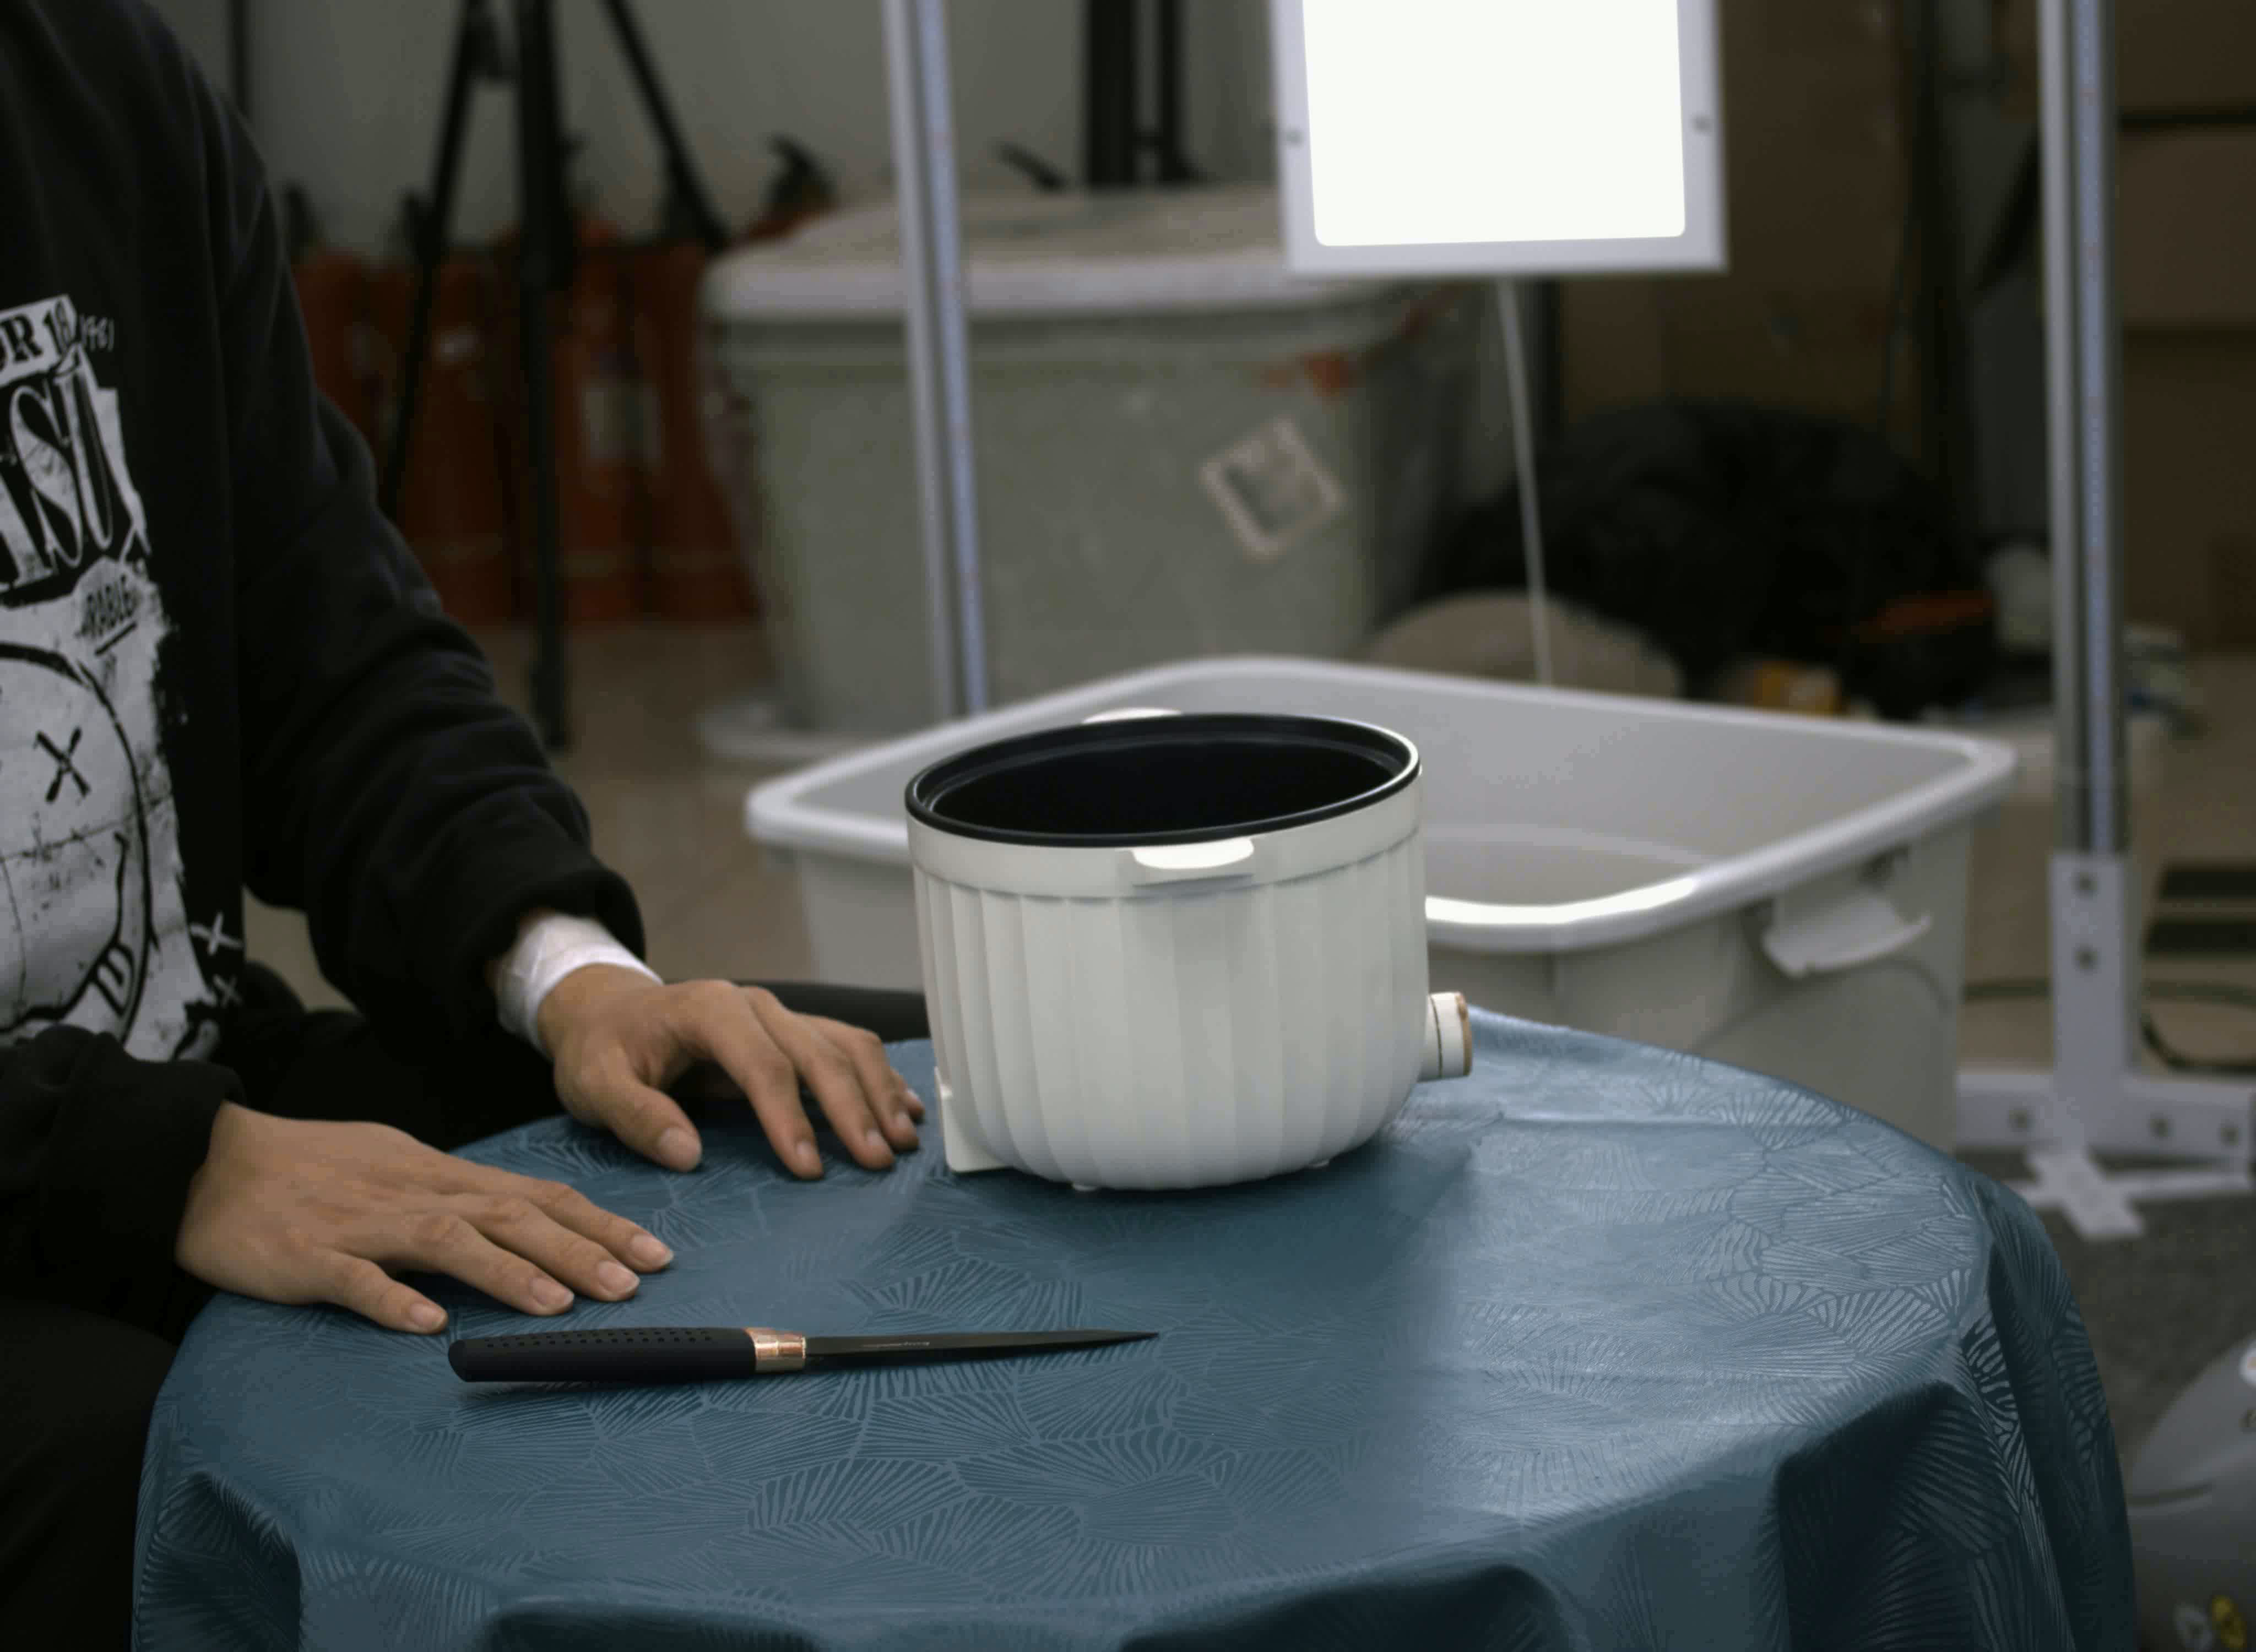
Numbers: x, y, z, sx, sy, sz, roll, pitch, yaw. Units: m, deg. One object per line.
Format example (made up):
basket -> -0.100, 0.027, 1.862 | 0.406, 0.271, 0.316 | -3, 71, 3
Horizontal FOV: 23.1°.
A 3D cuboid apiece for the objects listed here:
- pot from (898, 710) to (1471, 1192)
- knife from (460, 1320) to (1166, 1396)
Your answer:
pot -> 0.021, 0.044, 1.934 | 0.189, 0.143, 0.241 | -9, 15, -3
knife -> -0.099, 0.167, 1.754 | 0.225, 0.017, 0.026 | -4, -1, 1
